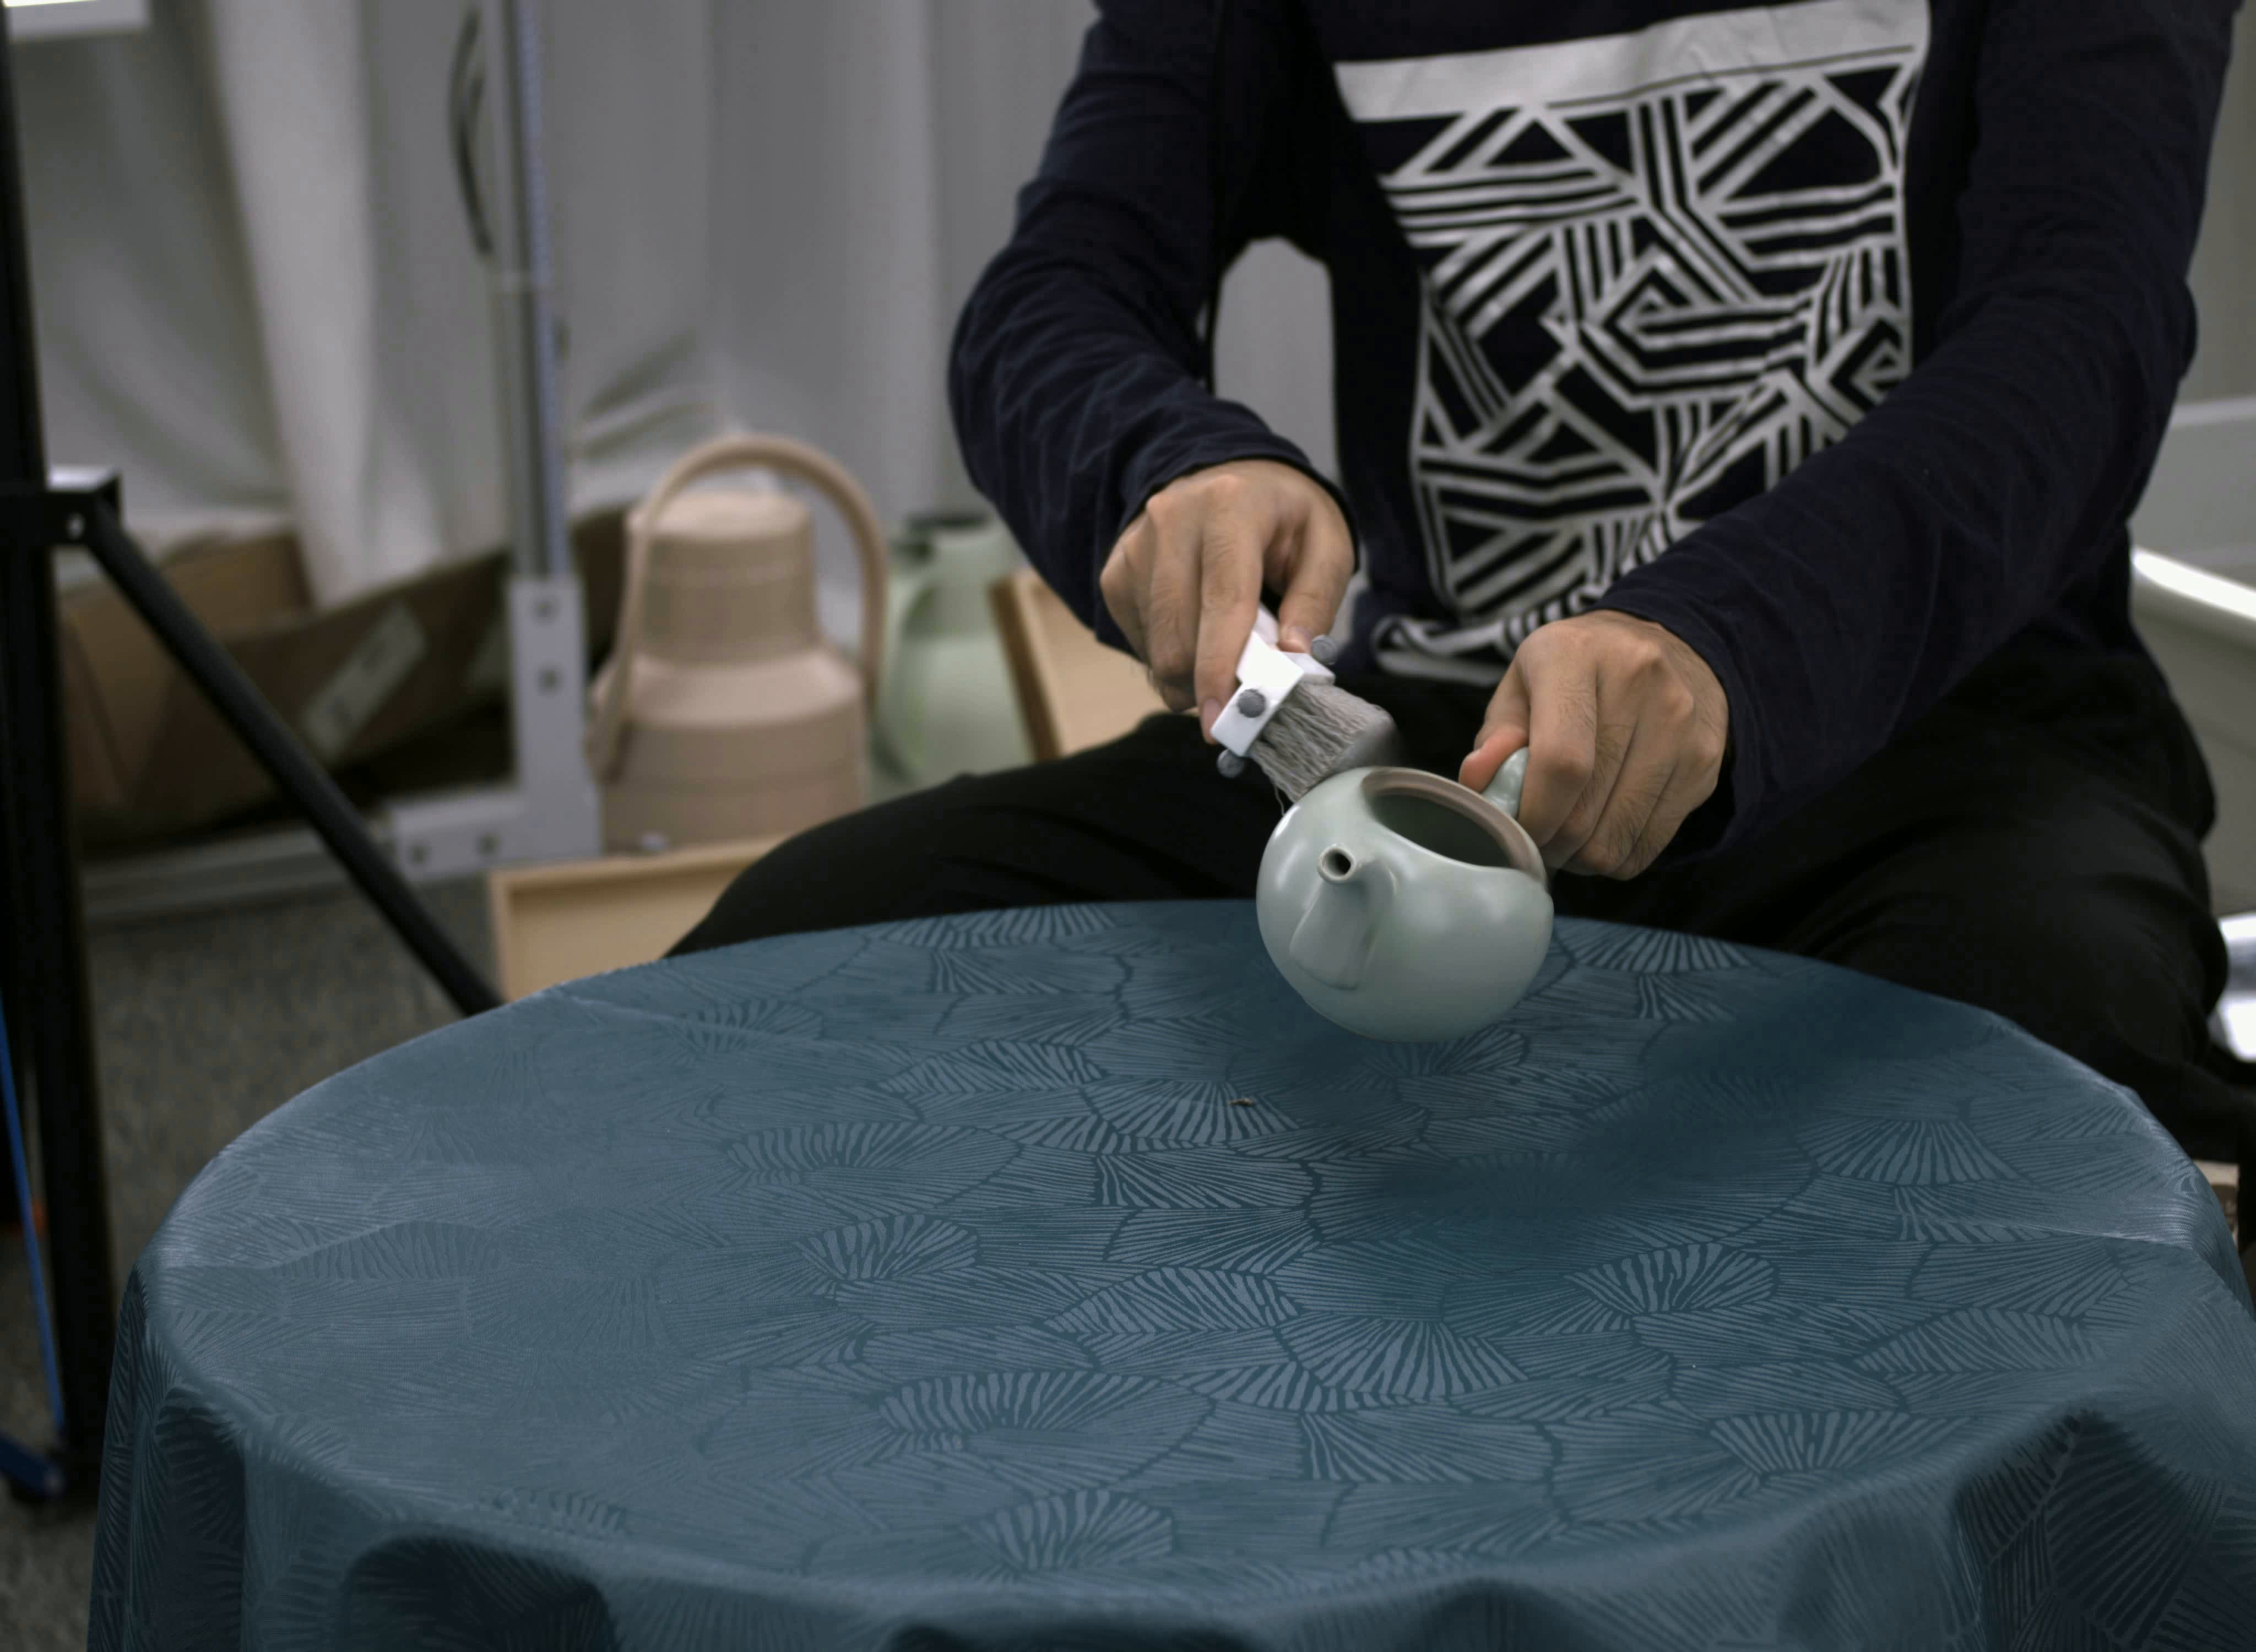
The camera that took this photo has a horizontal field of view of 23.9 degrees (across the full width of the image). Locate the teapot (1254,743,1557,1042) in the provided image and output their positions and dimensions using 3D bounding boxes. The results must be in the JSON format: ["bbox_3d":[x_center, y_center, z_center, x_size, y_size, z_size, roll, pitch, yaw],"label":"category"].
[{"bbox_3d":[0.081,0.022,1.558,0.090,0.075,0.141,33,29,23],"label":"teapot"}]

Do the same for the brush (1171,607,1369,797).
[{"bbox_3d":[0.043,-0.041,1.670,0.050,0.034,0.244,31,4,-5],"label":"brush"}]
